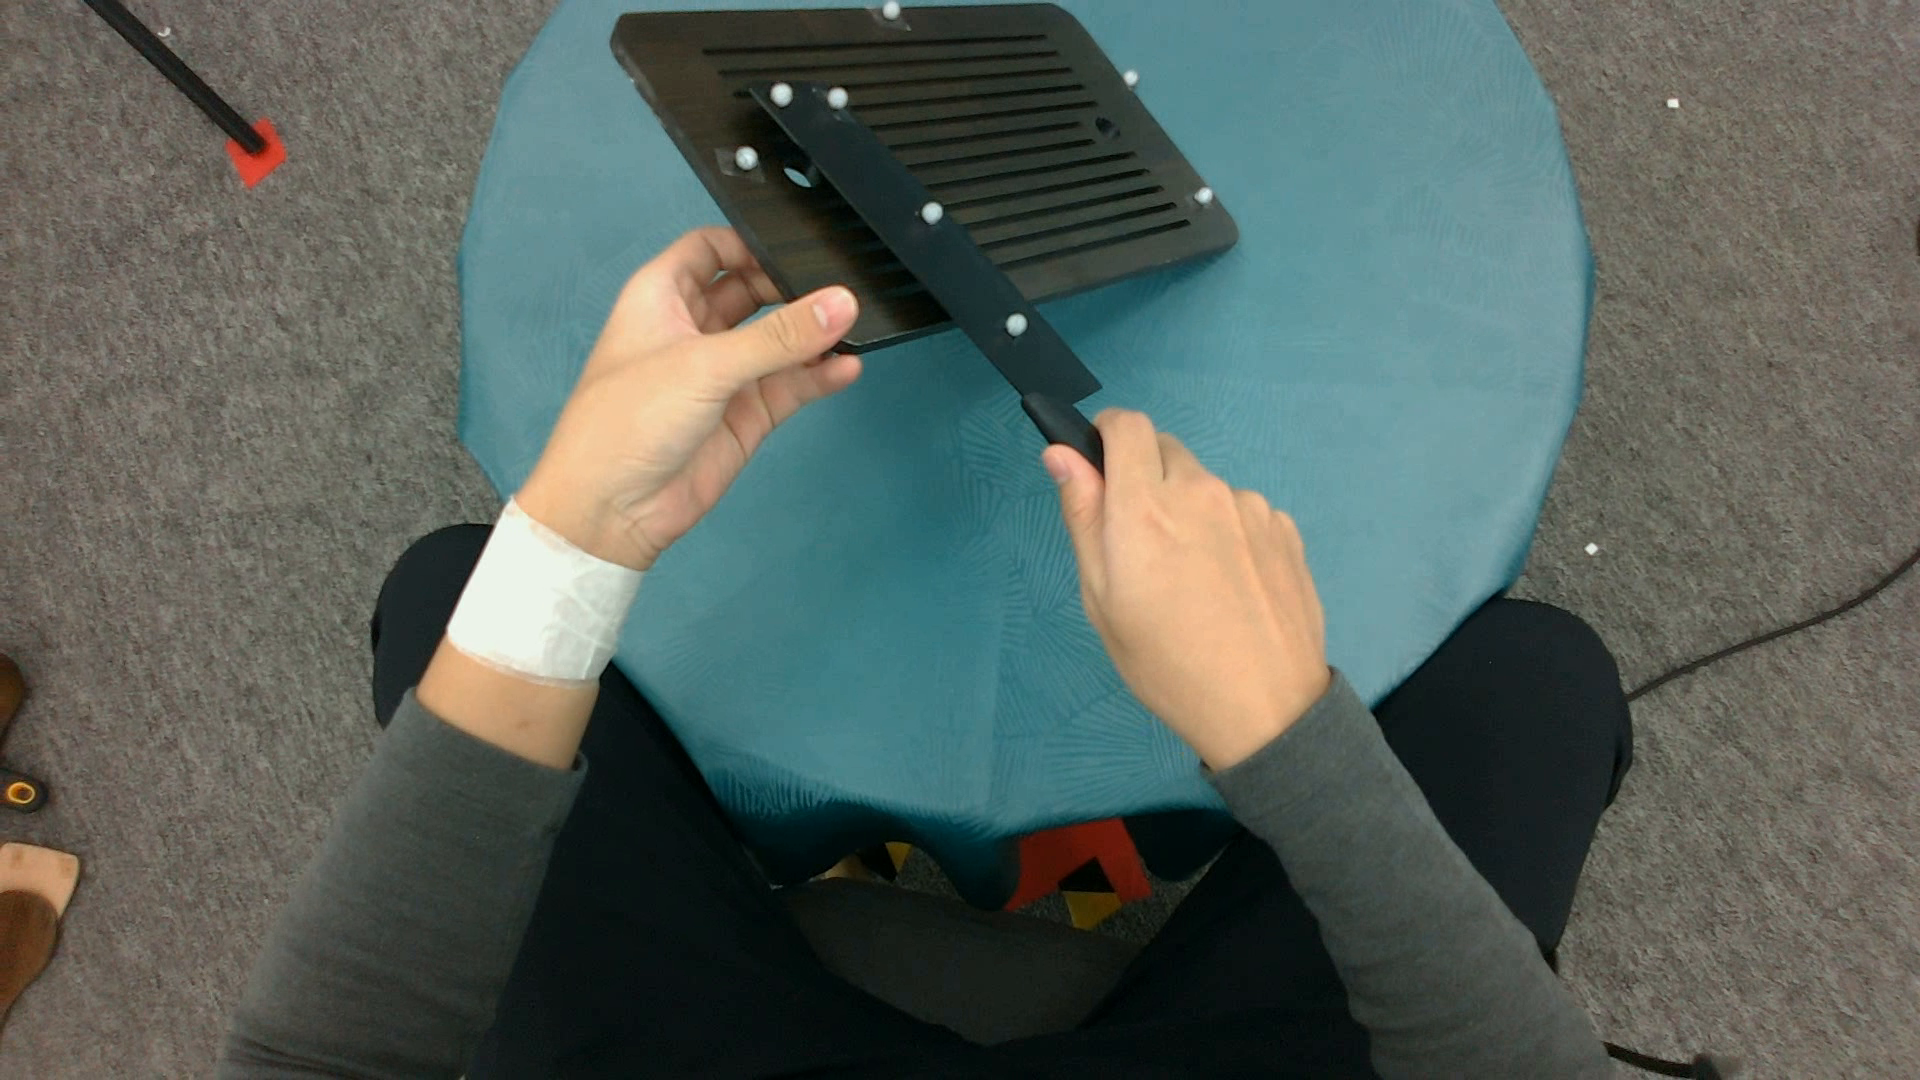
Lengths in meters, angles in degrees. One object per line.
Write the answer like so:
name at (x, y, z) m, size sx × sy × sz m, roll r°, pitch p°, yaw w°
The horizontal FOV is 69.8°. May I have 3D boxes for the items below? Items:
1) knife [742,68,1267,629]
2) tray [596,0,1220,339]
knife at (0.020, -0.084, 0.561) m, size 0.302 × 0.081 × 0.021 m, roll 52°, pitch 123°, yaw 9°
tray at (-0.006, -0.186, 0.642) m, size 0.307 × 0.018 × 0.170 m, roll -25°, pitch 76°, yaw -44°
